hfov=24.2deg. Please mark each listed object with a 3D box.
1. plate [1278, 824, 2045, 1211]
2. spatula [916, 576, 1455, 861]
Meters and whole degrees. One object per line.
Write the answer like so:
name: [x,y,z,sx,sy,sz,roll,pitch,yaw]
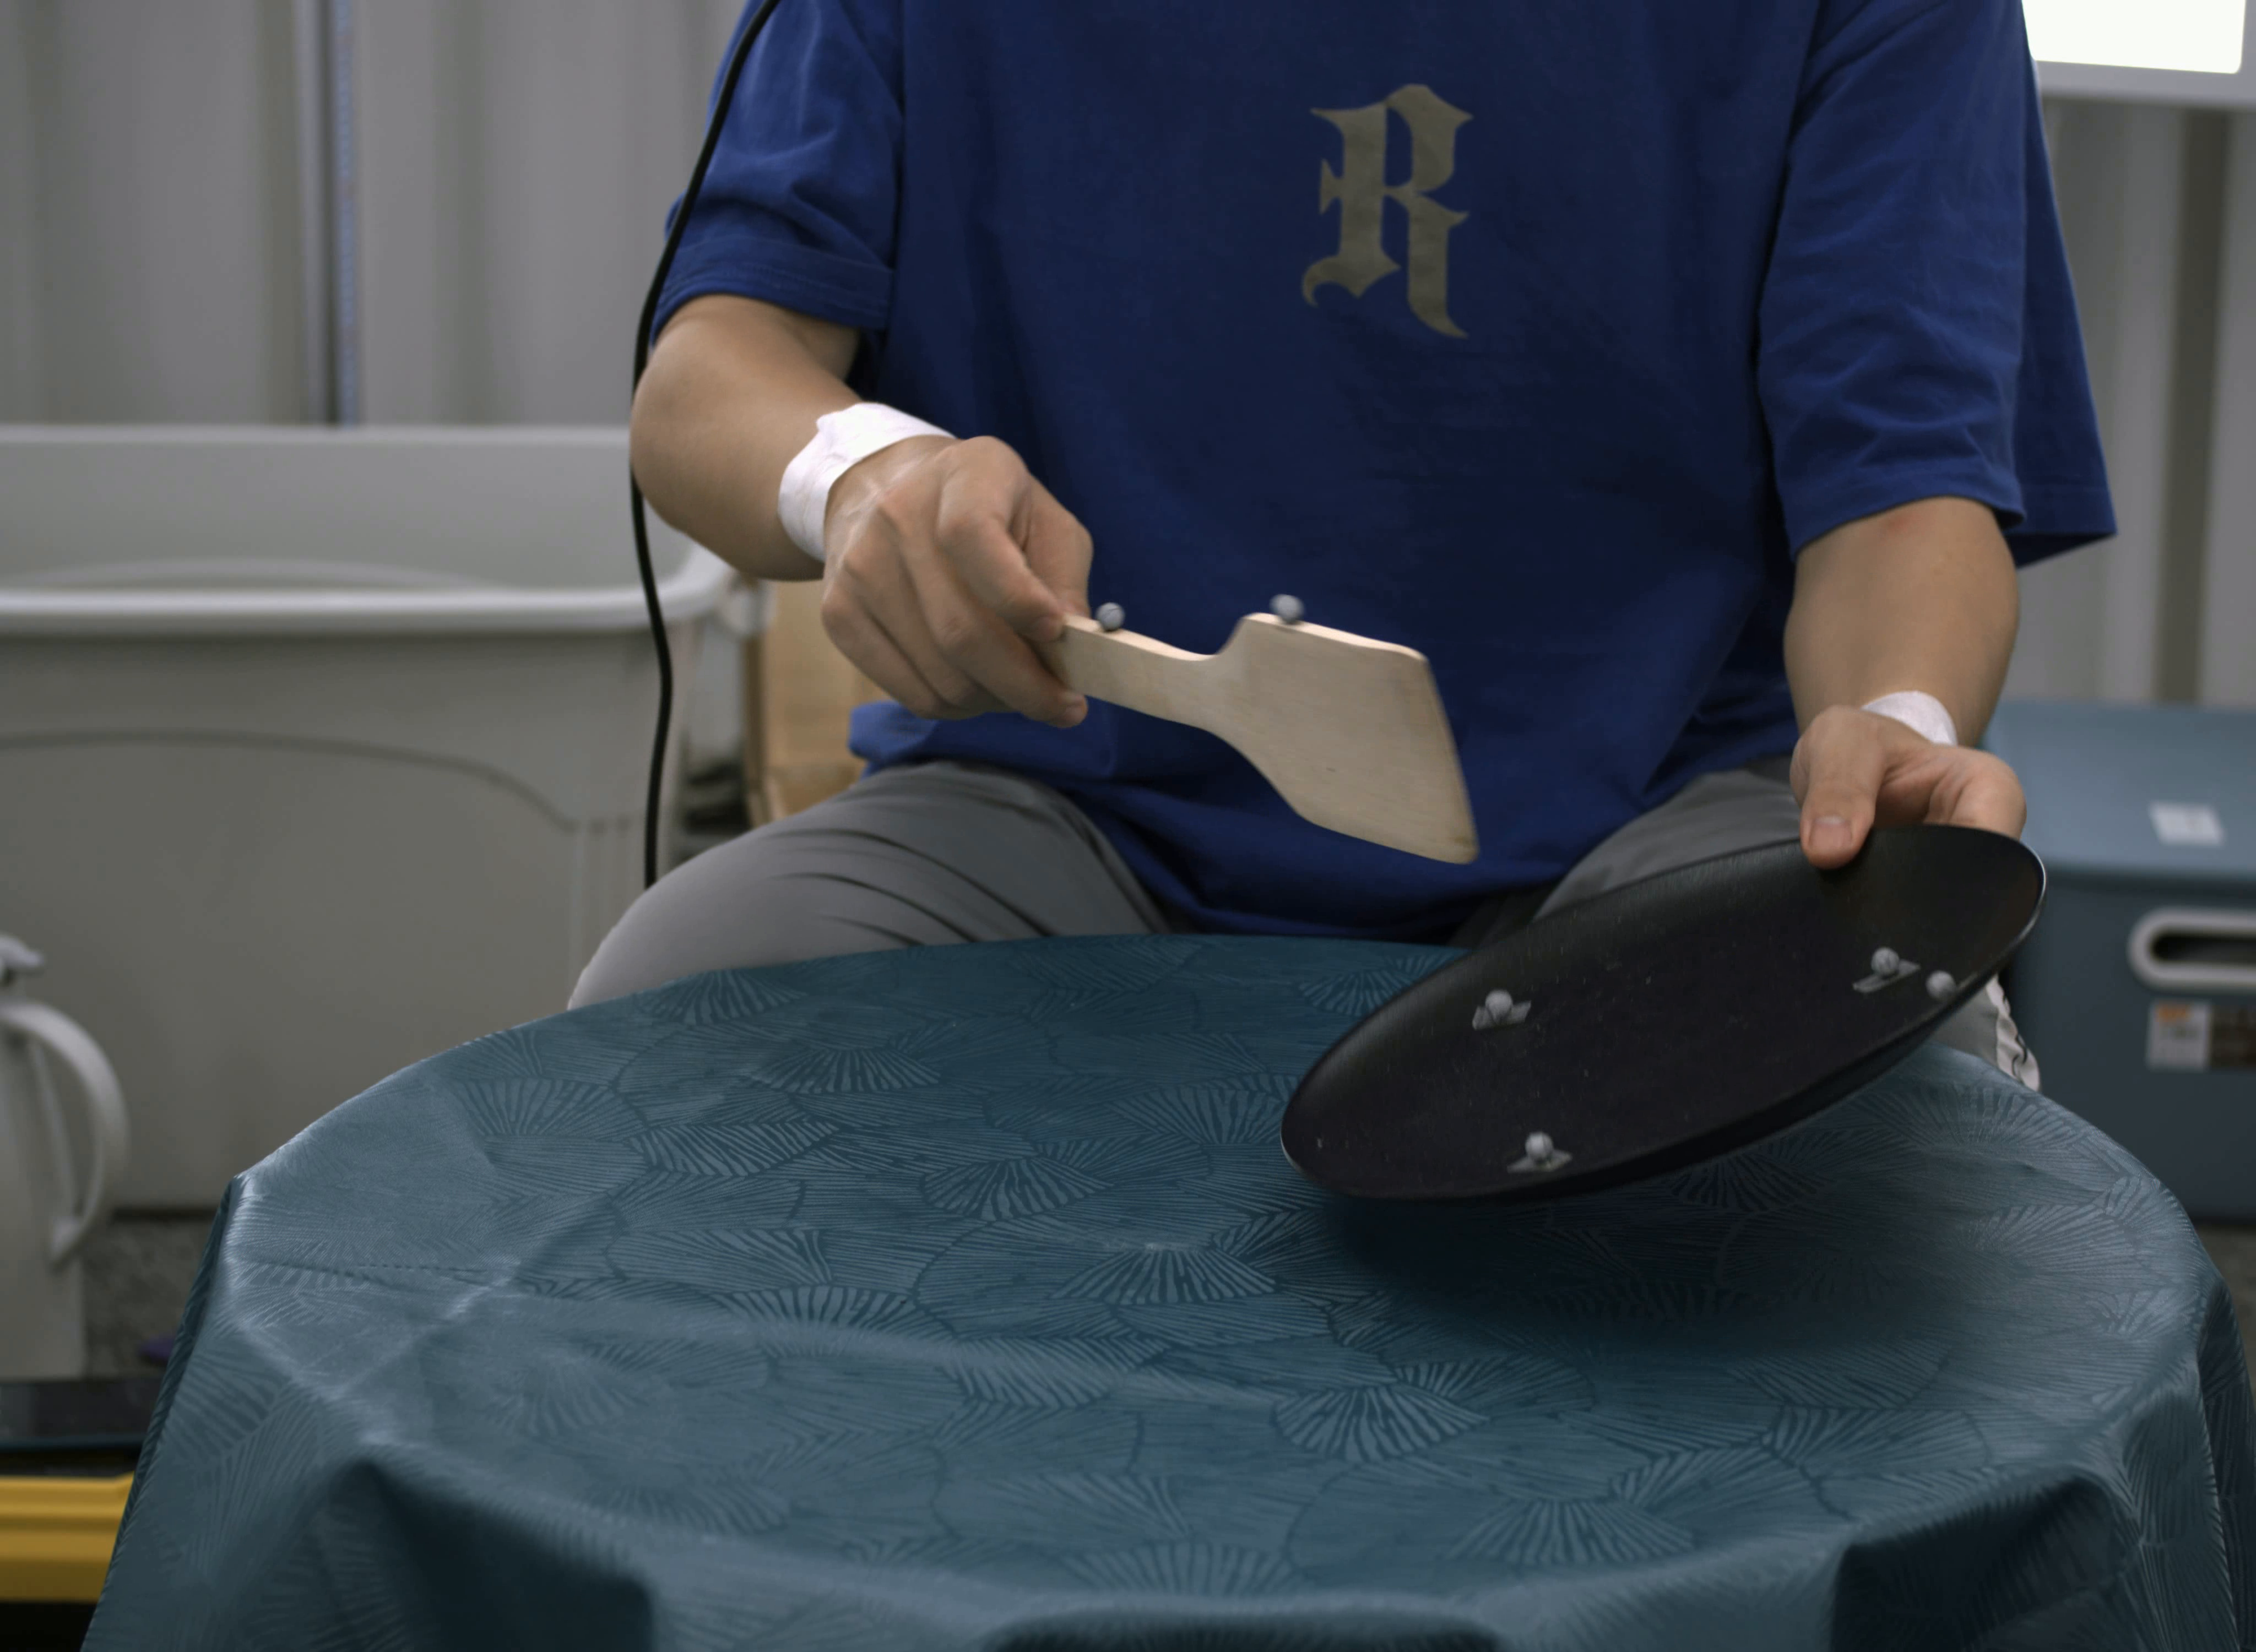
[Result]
plate: [0.162,0.063,1.581,0.243,0.023,0.243,-20,15,7]
spatula: [0.008,-0.046,1.631,0.010,0.073,0.289,-29,25,-24]
